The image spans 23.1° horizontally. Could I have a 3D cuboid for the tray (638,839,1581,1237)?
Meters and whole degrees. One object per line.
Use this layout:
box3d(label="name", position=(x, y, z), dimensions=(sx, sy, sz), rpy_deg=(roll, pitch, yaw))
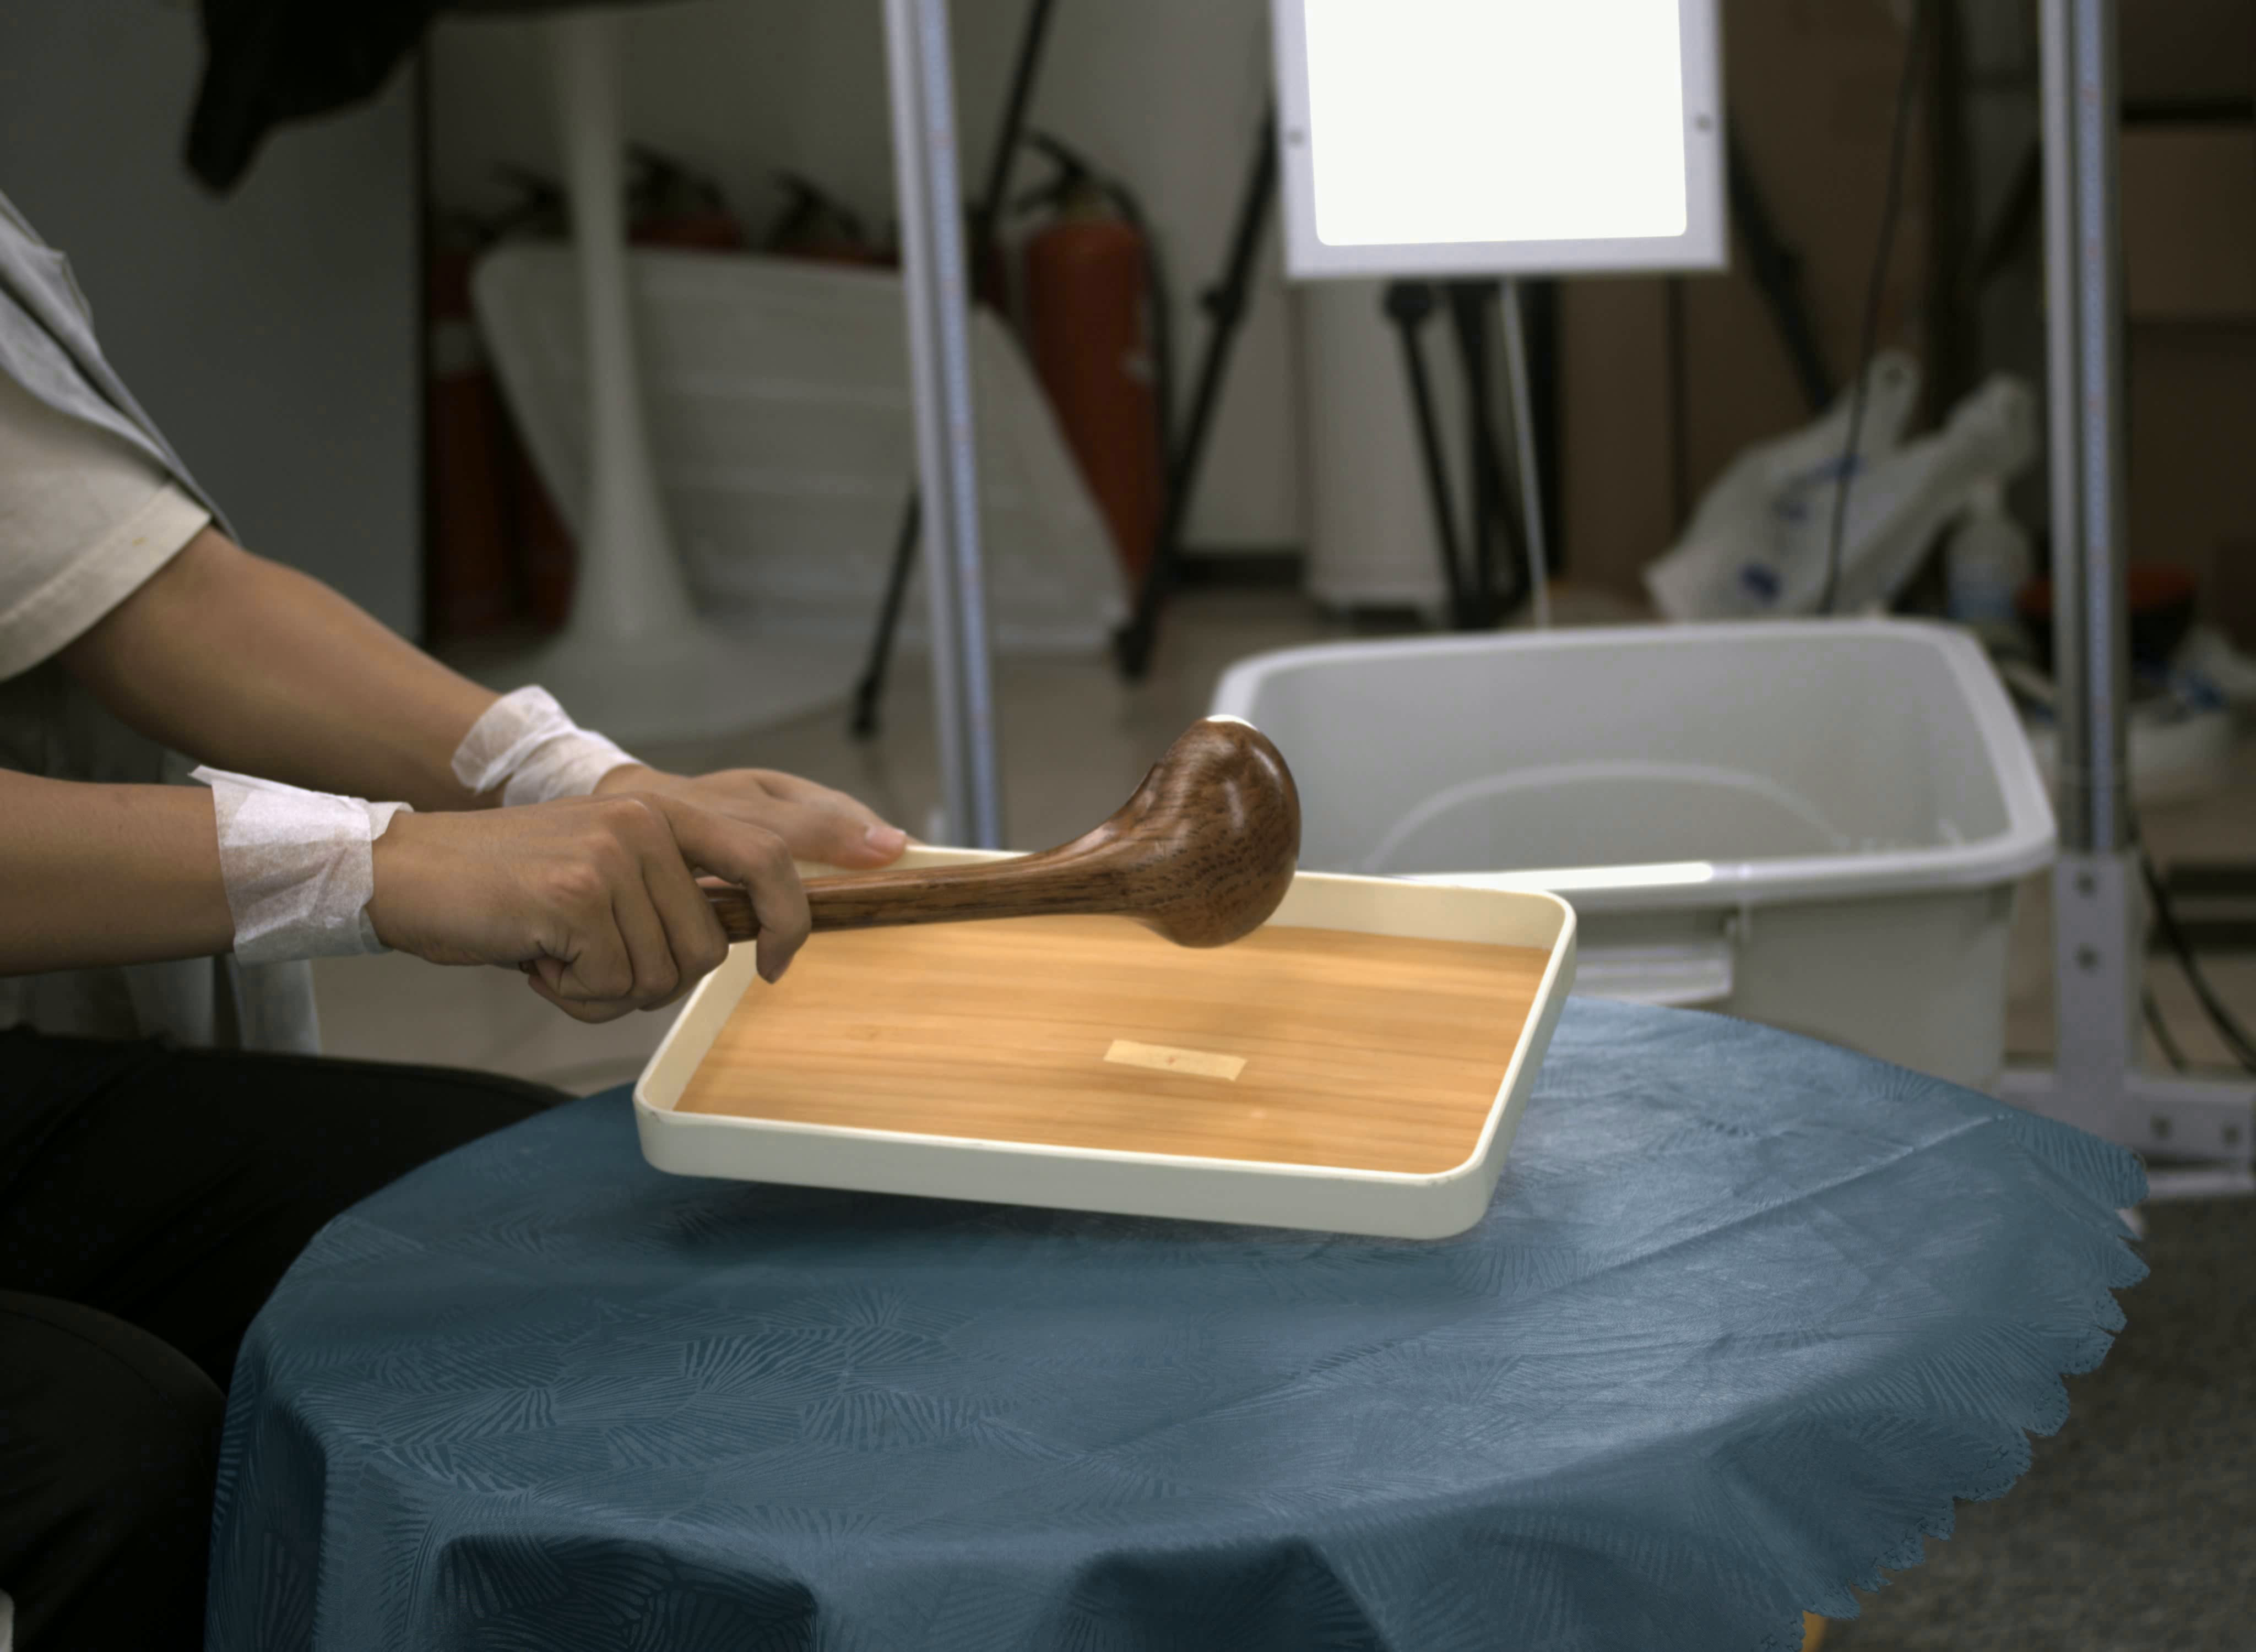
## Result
box3d(label="tray", position=(-0.004, 0.071, 1.920), dimensions=(0.304, 0.027, 0.189), rpy_deg=(4, 31, 18))

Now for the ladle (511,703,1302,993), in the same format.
box3d(label="ladle", position=(-0.074, 0.014, 1.876), dimensions=(0.273, 0.082, 0.076), rpy_deg=(-8, 15, -1))
